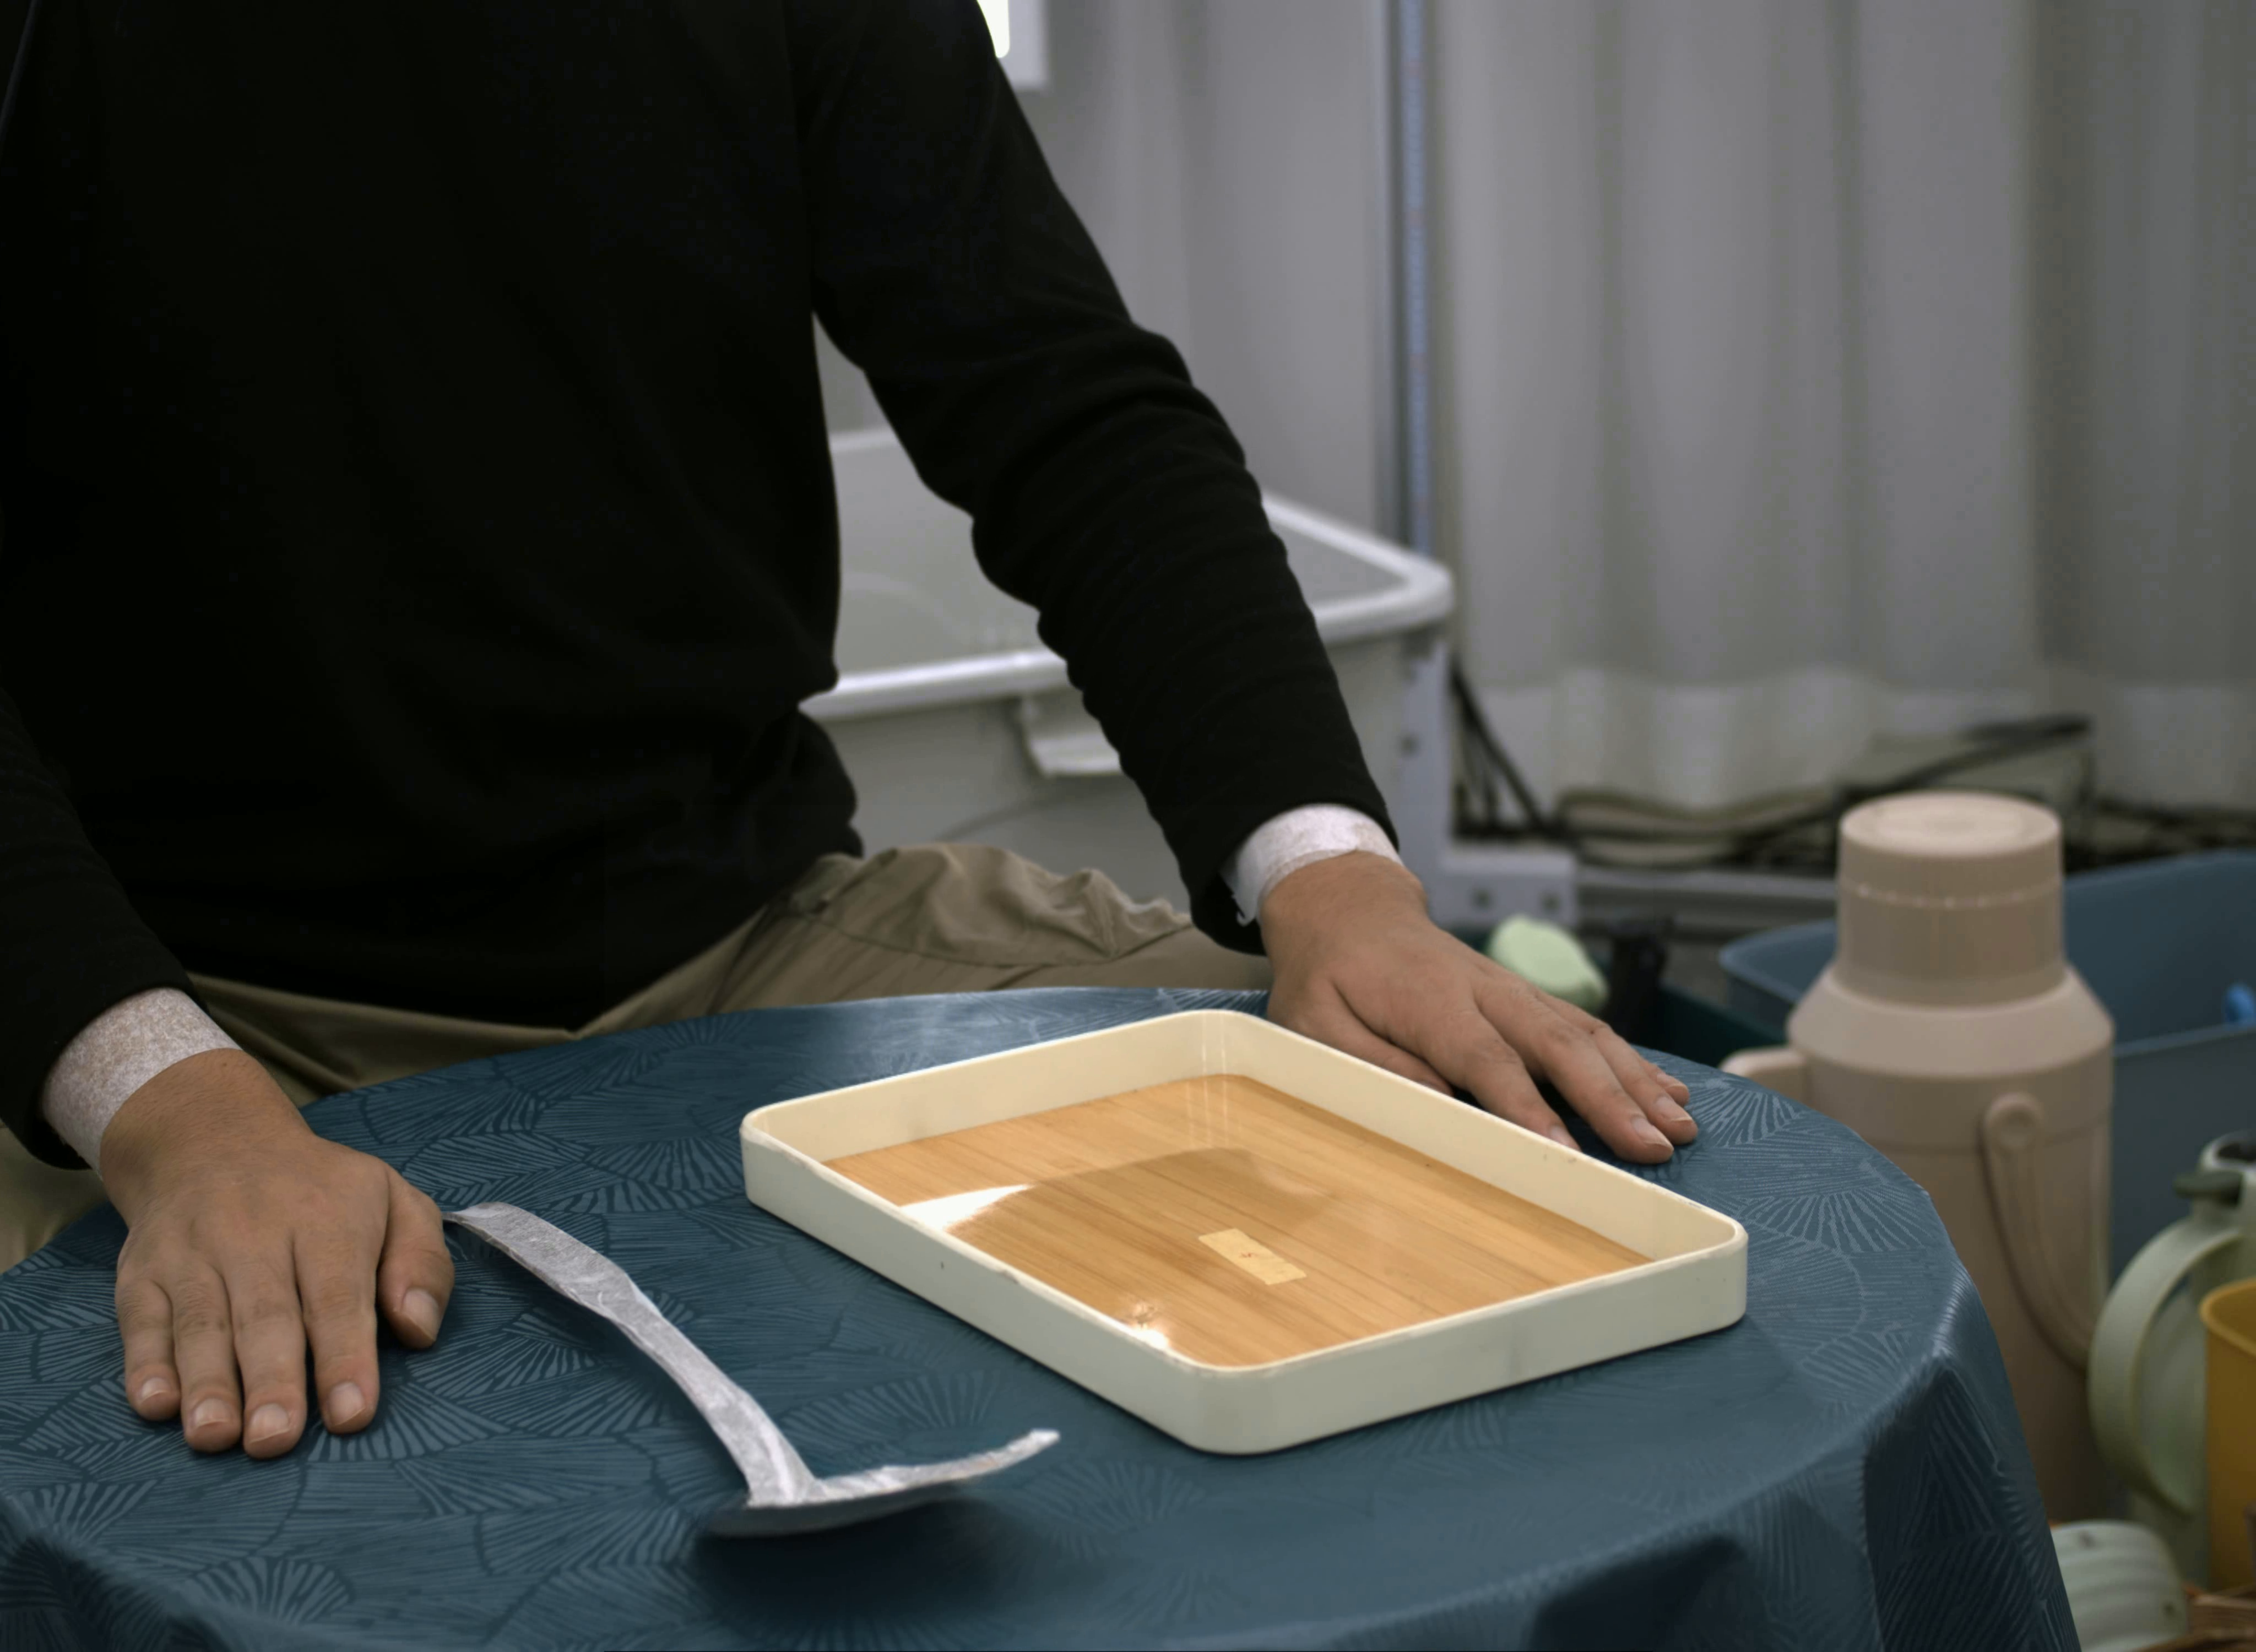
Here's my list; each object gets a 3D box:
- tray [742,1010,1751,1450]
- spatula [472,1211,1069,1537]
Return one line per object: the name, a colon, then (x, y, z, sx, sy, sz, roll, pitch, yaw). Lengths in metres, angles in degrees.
tray: (0.029, 0.117, 1.649, 0.191, 0.027, 0.302, -11, 17, -29)
spatula: (-0.127, 0.145, 1.549, 0.098, 0.044, 0.368, -10, 16, -23)
